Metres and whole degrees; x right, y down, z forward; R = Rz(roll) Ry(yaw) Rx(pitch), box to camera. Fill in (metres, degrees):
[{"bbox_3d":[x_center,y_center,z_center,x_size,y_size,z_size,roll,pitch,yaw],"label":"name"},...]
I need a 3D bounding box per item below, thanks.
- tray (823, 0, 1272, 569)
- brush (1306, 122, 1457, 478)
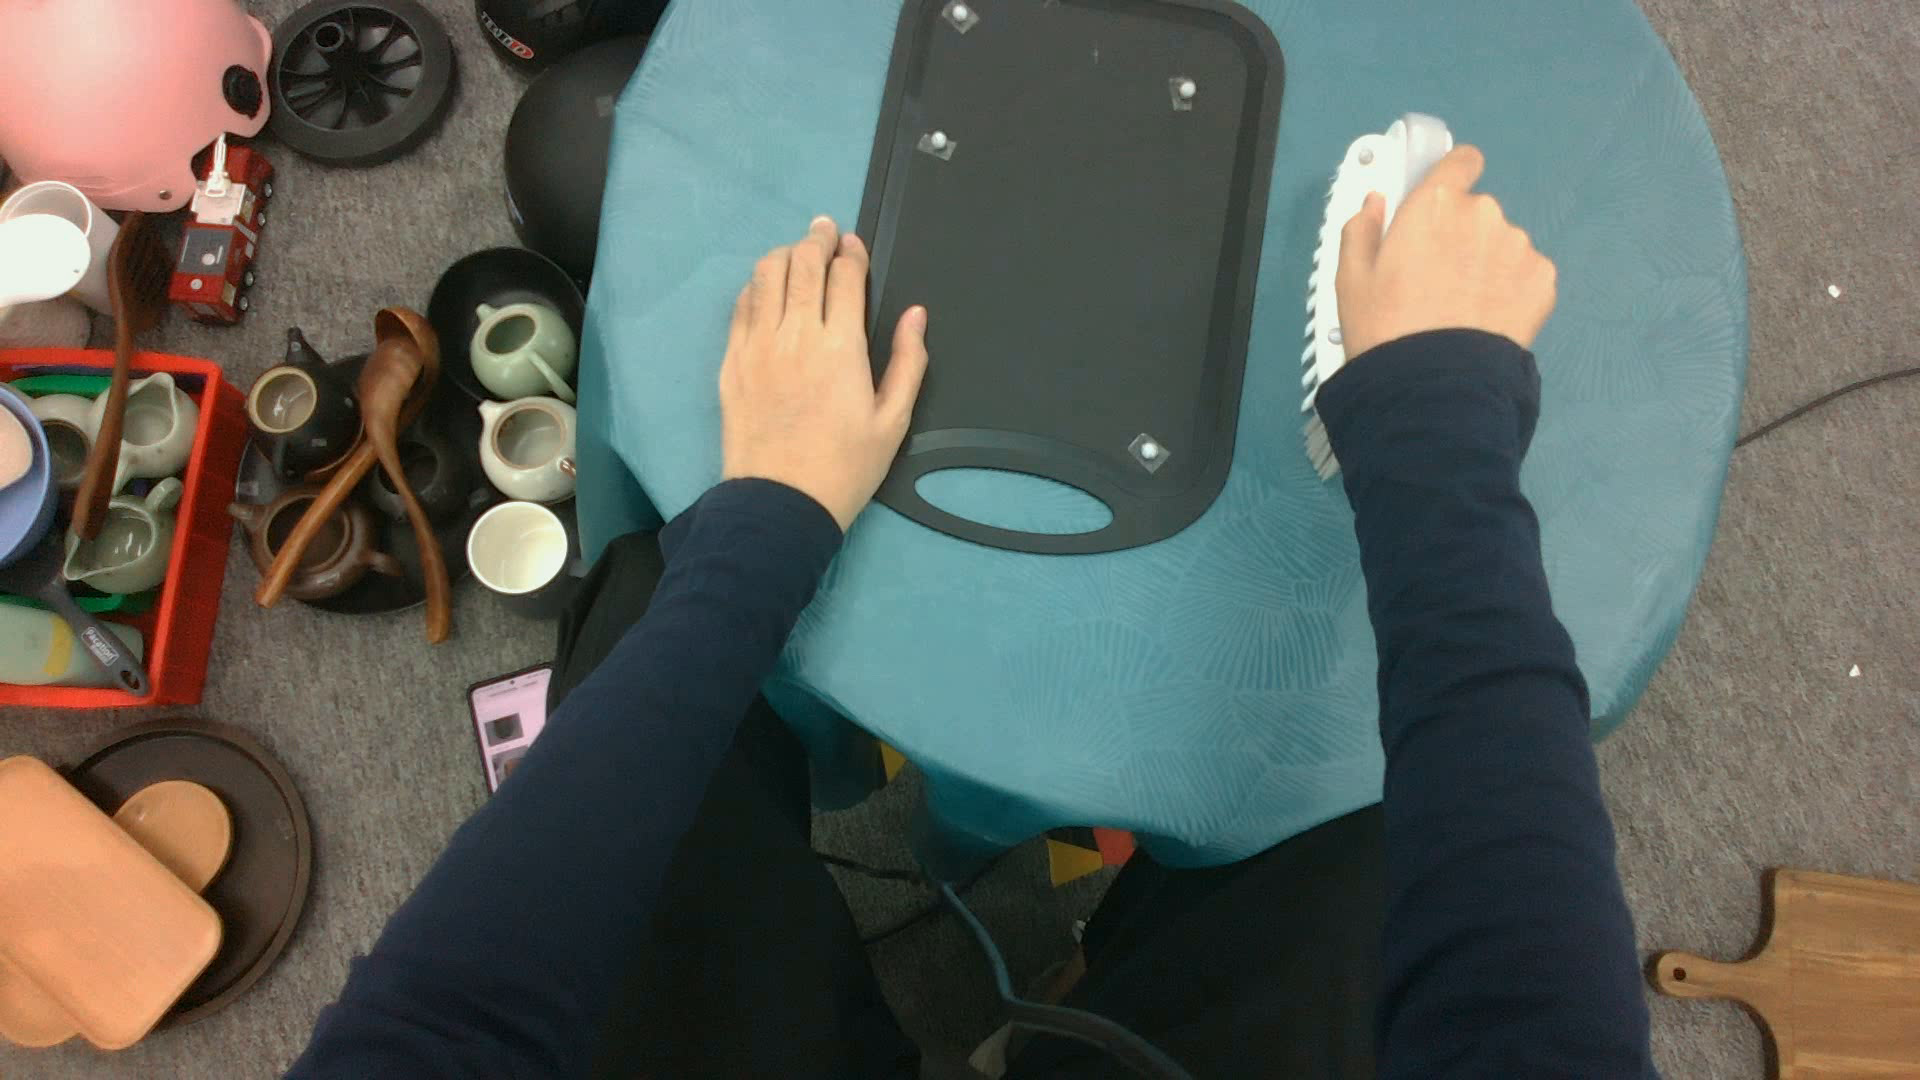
[{"bbox_3d":[0.050,-0.143,0.727,0.211,0.010,0.326,9,75,2],"label":"tray"},{"bbox_3d":[0.207,-0.123,0.680,0.061,0.094,0.176,14,77,4],"label":"brush"}]
